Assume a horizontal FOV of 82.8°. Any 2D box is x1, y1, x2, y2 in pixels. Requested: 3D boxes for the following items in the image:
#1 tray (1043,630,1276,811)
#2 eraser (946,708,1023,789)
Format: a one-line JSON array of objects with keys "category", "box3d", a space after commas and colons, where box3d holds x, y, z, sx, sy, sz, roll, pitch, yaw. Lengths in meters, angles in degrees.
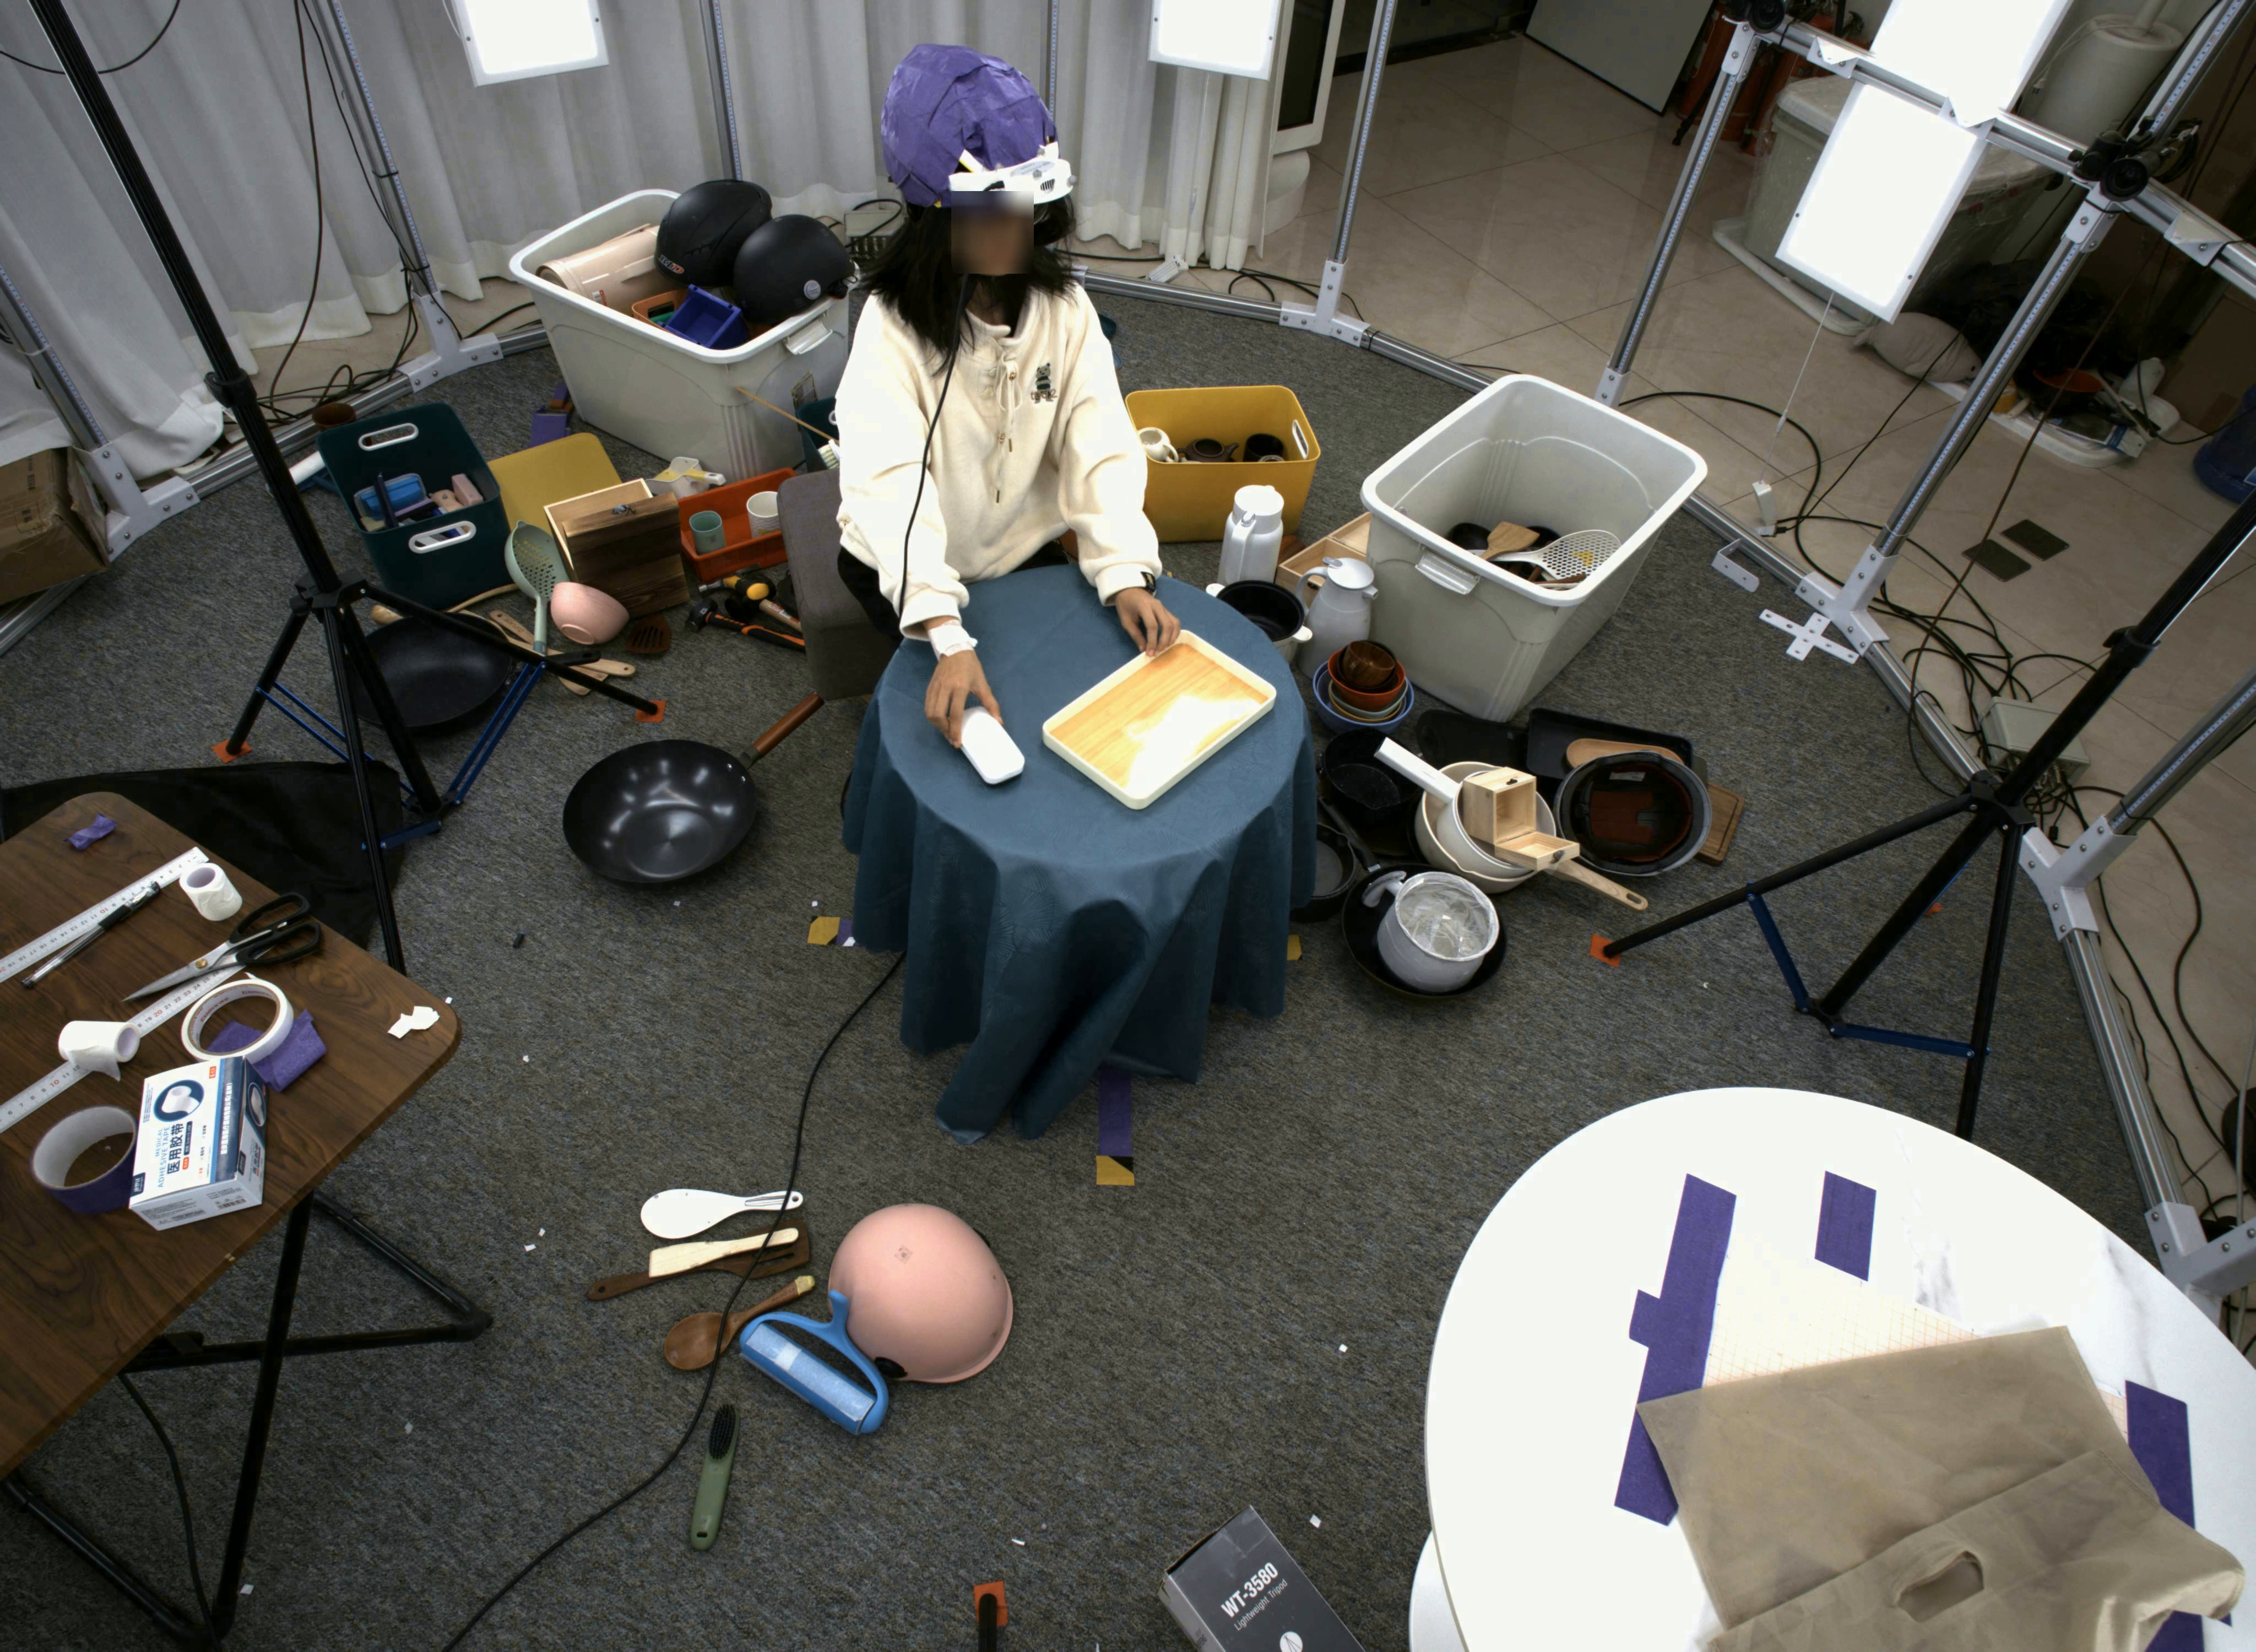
[{"category": "tray", "box3d": [0.047, -0.153, 1.789, 0.194, 0.027, 0.303, 37, 57, 25]}, {"category": "eraser", "box3d": [-0.192, -0.108, 1.730, 0.063, 0.034, 0.134, -22, 54, -20]}]
